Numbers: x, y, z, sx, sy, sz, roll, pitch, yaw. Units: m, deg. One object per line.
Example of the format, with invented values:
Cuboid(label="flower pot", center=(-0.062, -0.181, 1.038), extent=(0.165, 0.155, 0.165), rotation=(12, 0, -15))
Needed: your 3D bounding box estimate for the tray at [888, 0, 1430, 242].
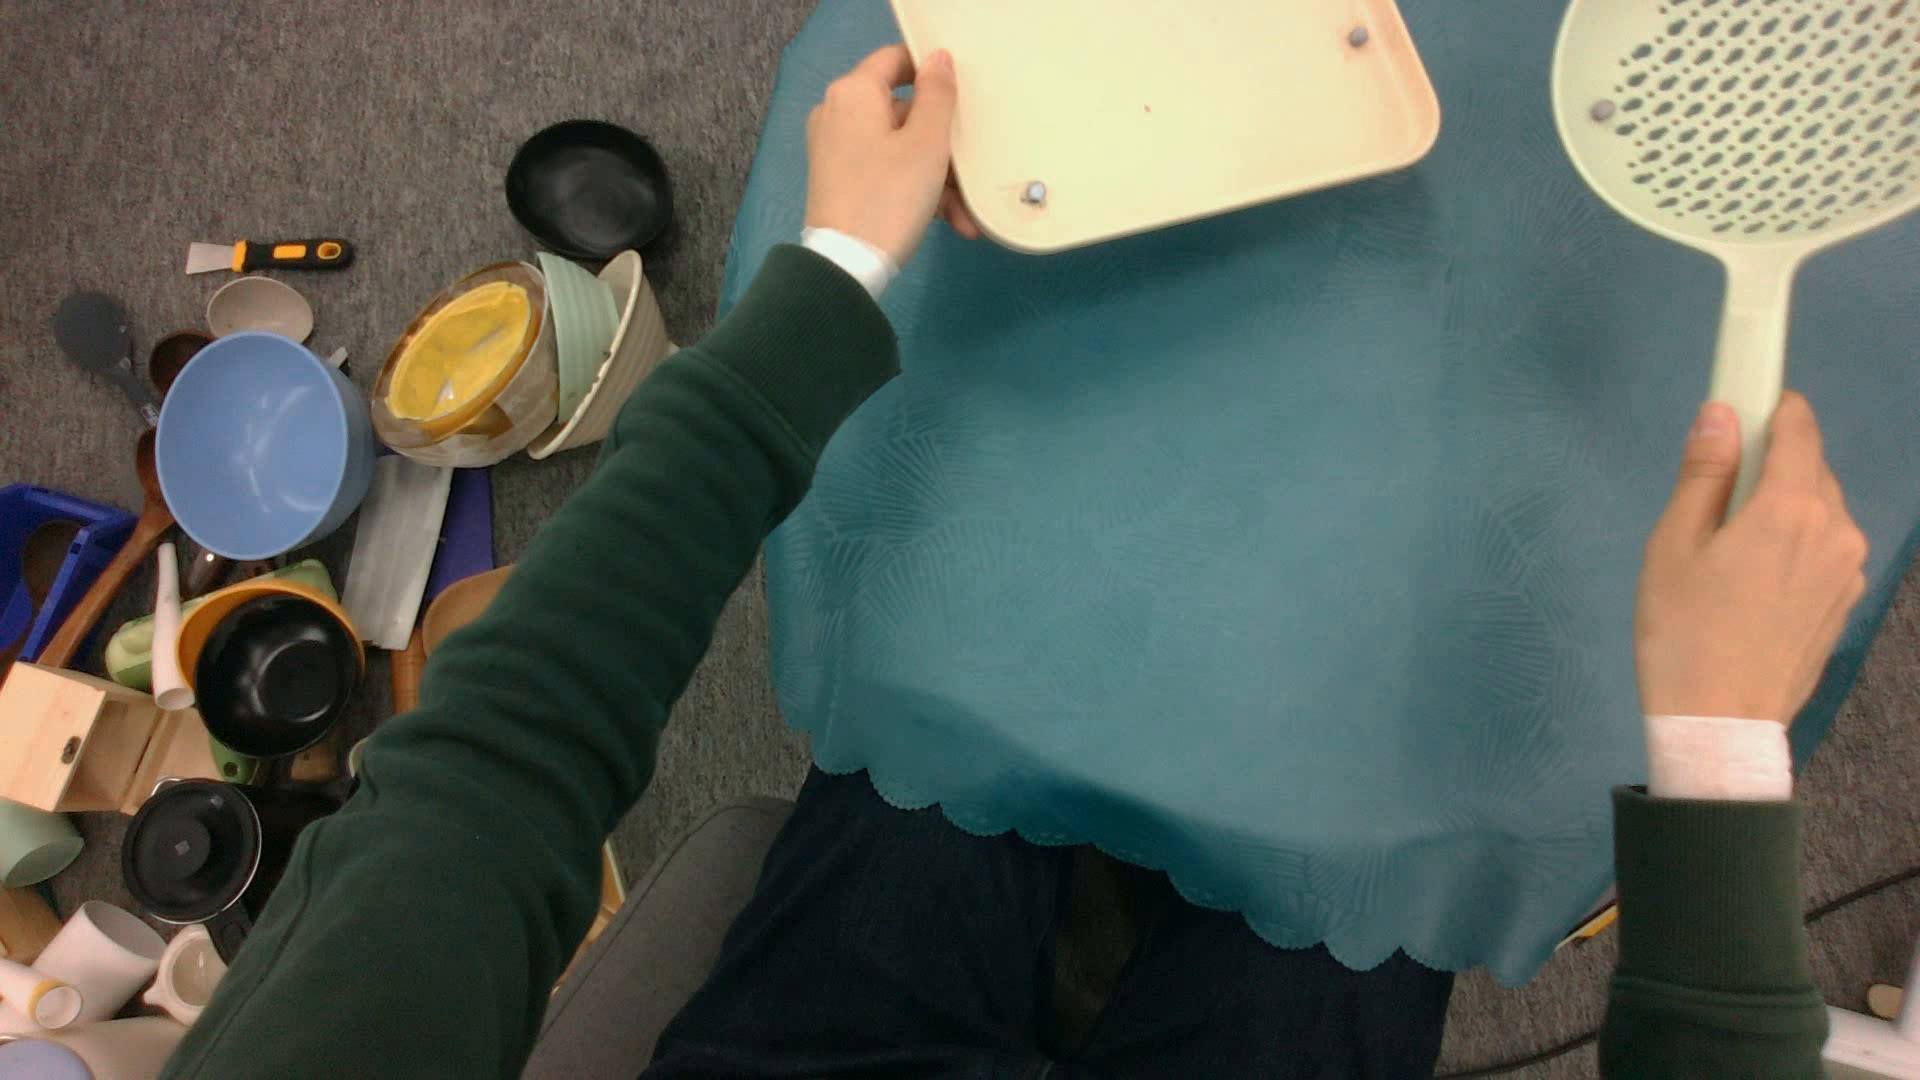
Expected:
Cuboid(label="tray", center=(0.090, -0.231, 0.630), extent=(0.240, 0.017, 0.171), rotation=(-17, 80, -16))

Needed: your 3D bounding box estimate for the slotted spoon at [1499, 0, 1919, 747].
Cuboid(label="slotted spoon", center=(0.288, -0.103, 0.528), extent=(0.169, 0.075, 0.359), rotation=(4, 77, 37))
